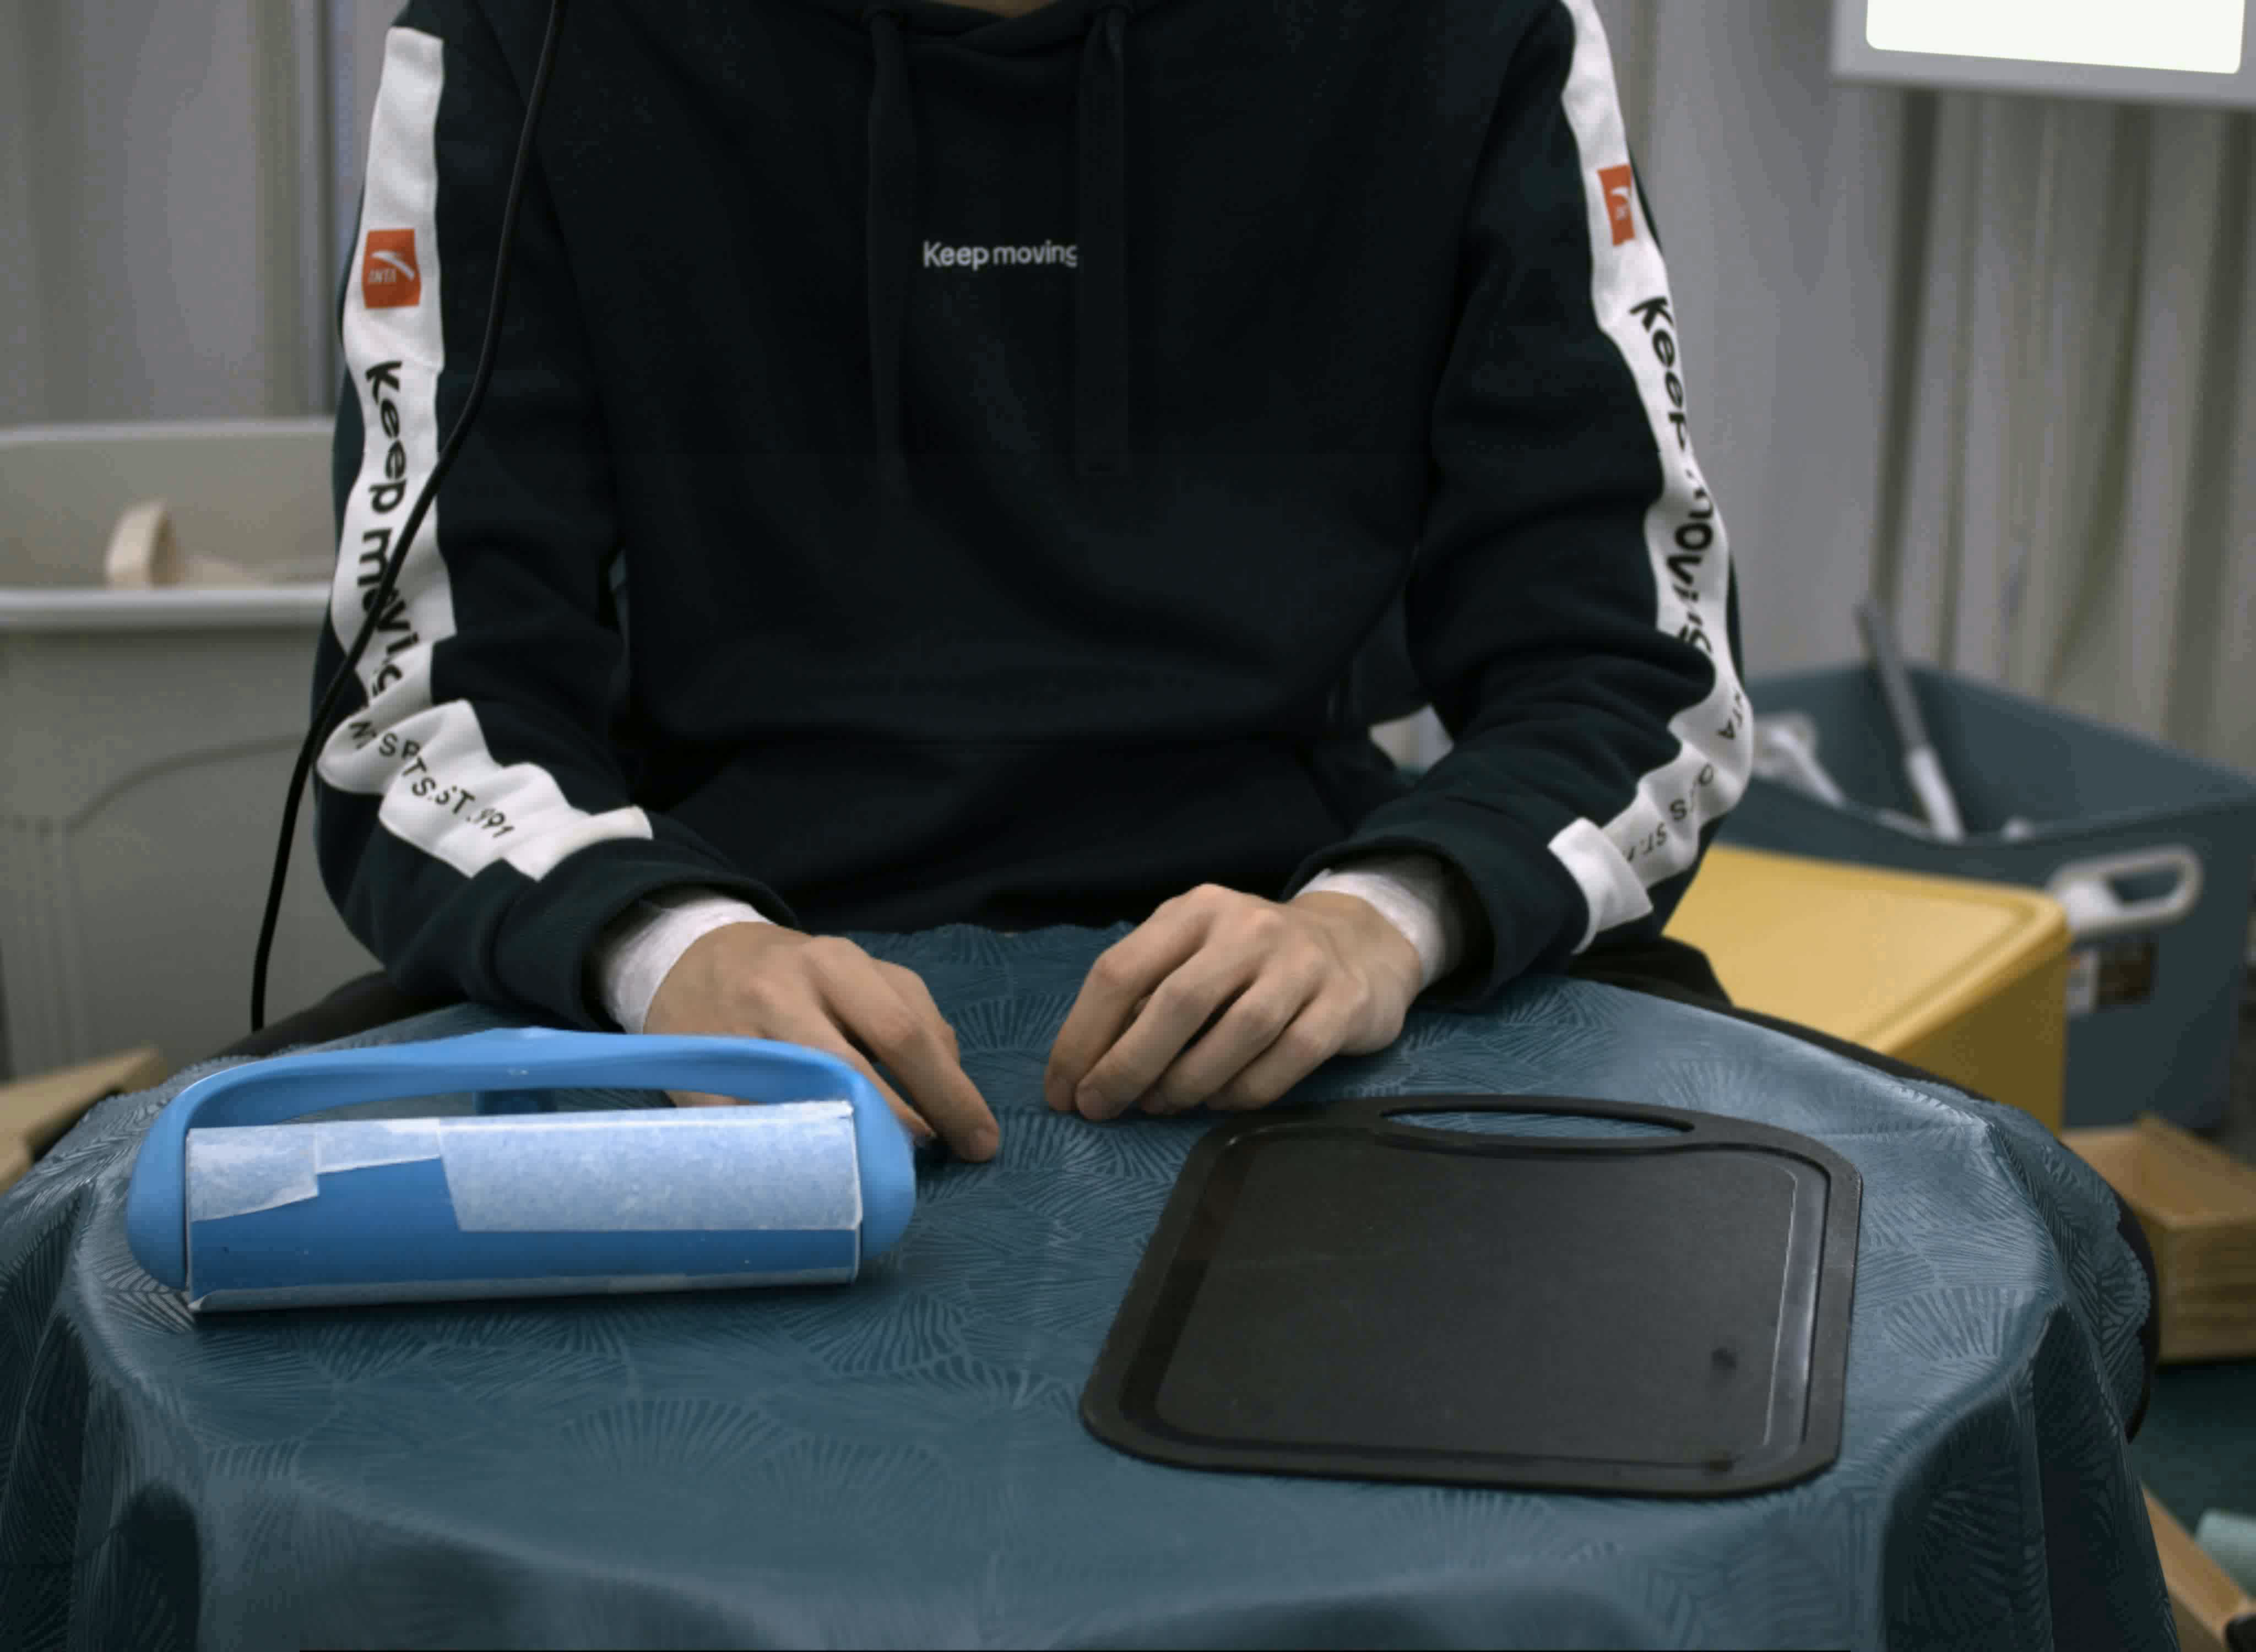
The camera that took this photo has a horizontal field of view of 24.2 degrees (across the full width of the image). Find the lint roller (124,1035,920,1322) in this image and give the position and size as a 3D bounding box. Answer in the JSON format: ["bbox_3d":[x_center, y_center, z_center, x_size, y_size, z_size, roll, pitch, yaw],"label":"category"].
[{"bbox_3d":[-0.184,0.093,1.577,0.229,0.068,0.178,-4,17,-10],"label":"lint roller"}]

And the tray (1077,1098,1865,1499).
[{"bbox_3d":[0.108,0.130,1.547,0.210,0.010,0.324,3,15,9],"label":"tray"}]
